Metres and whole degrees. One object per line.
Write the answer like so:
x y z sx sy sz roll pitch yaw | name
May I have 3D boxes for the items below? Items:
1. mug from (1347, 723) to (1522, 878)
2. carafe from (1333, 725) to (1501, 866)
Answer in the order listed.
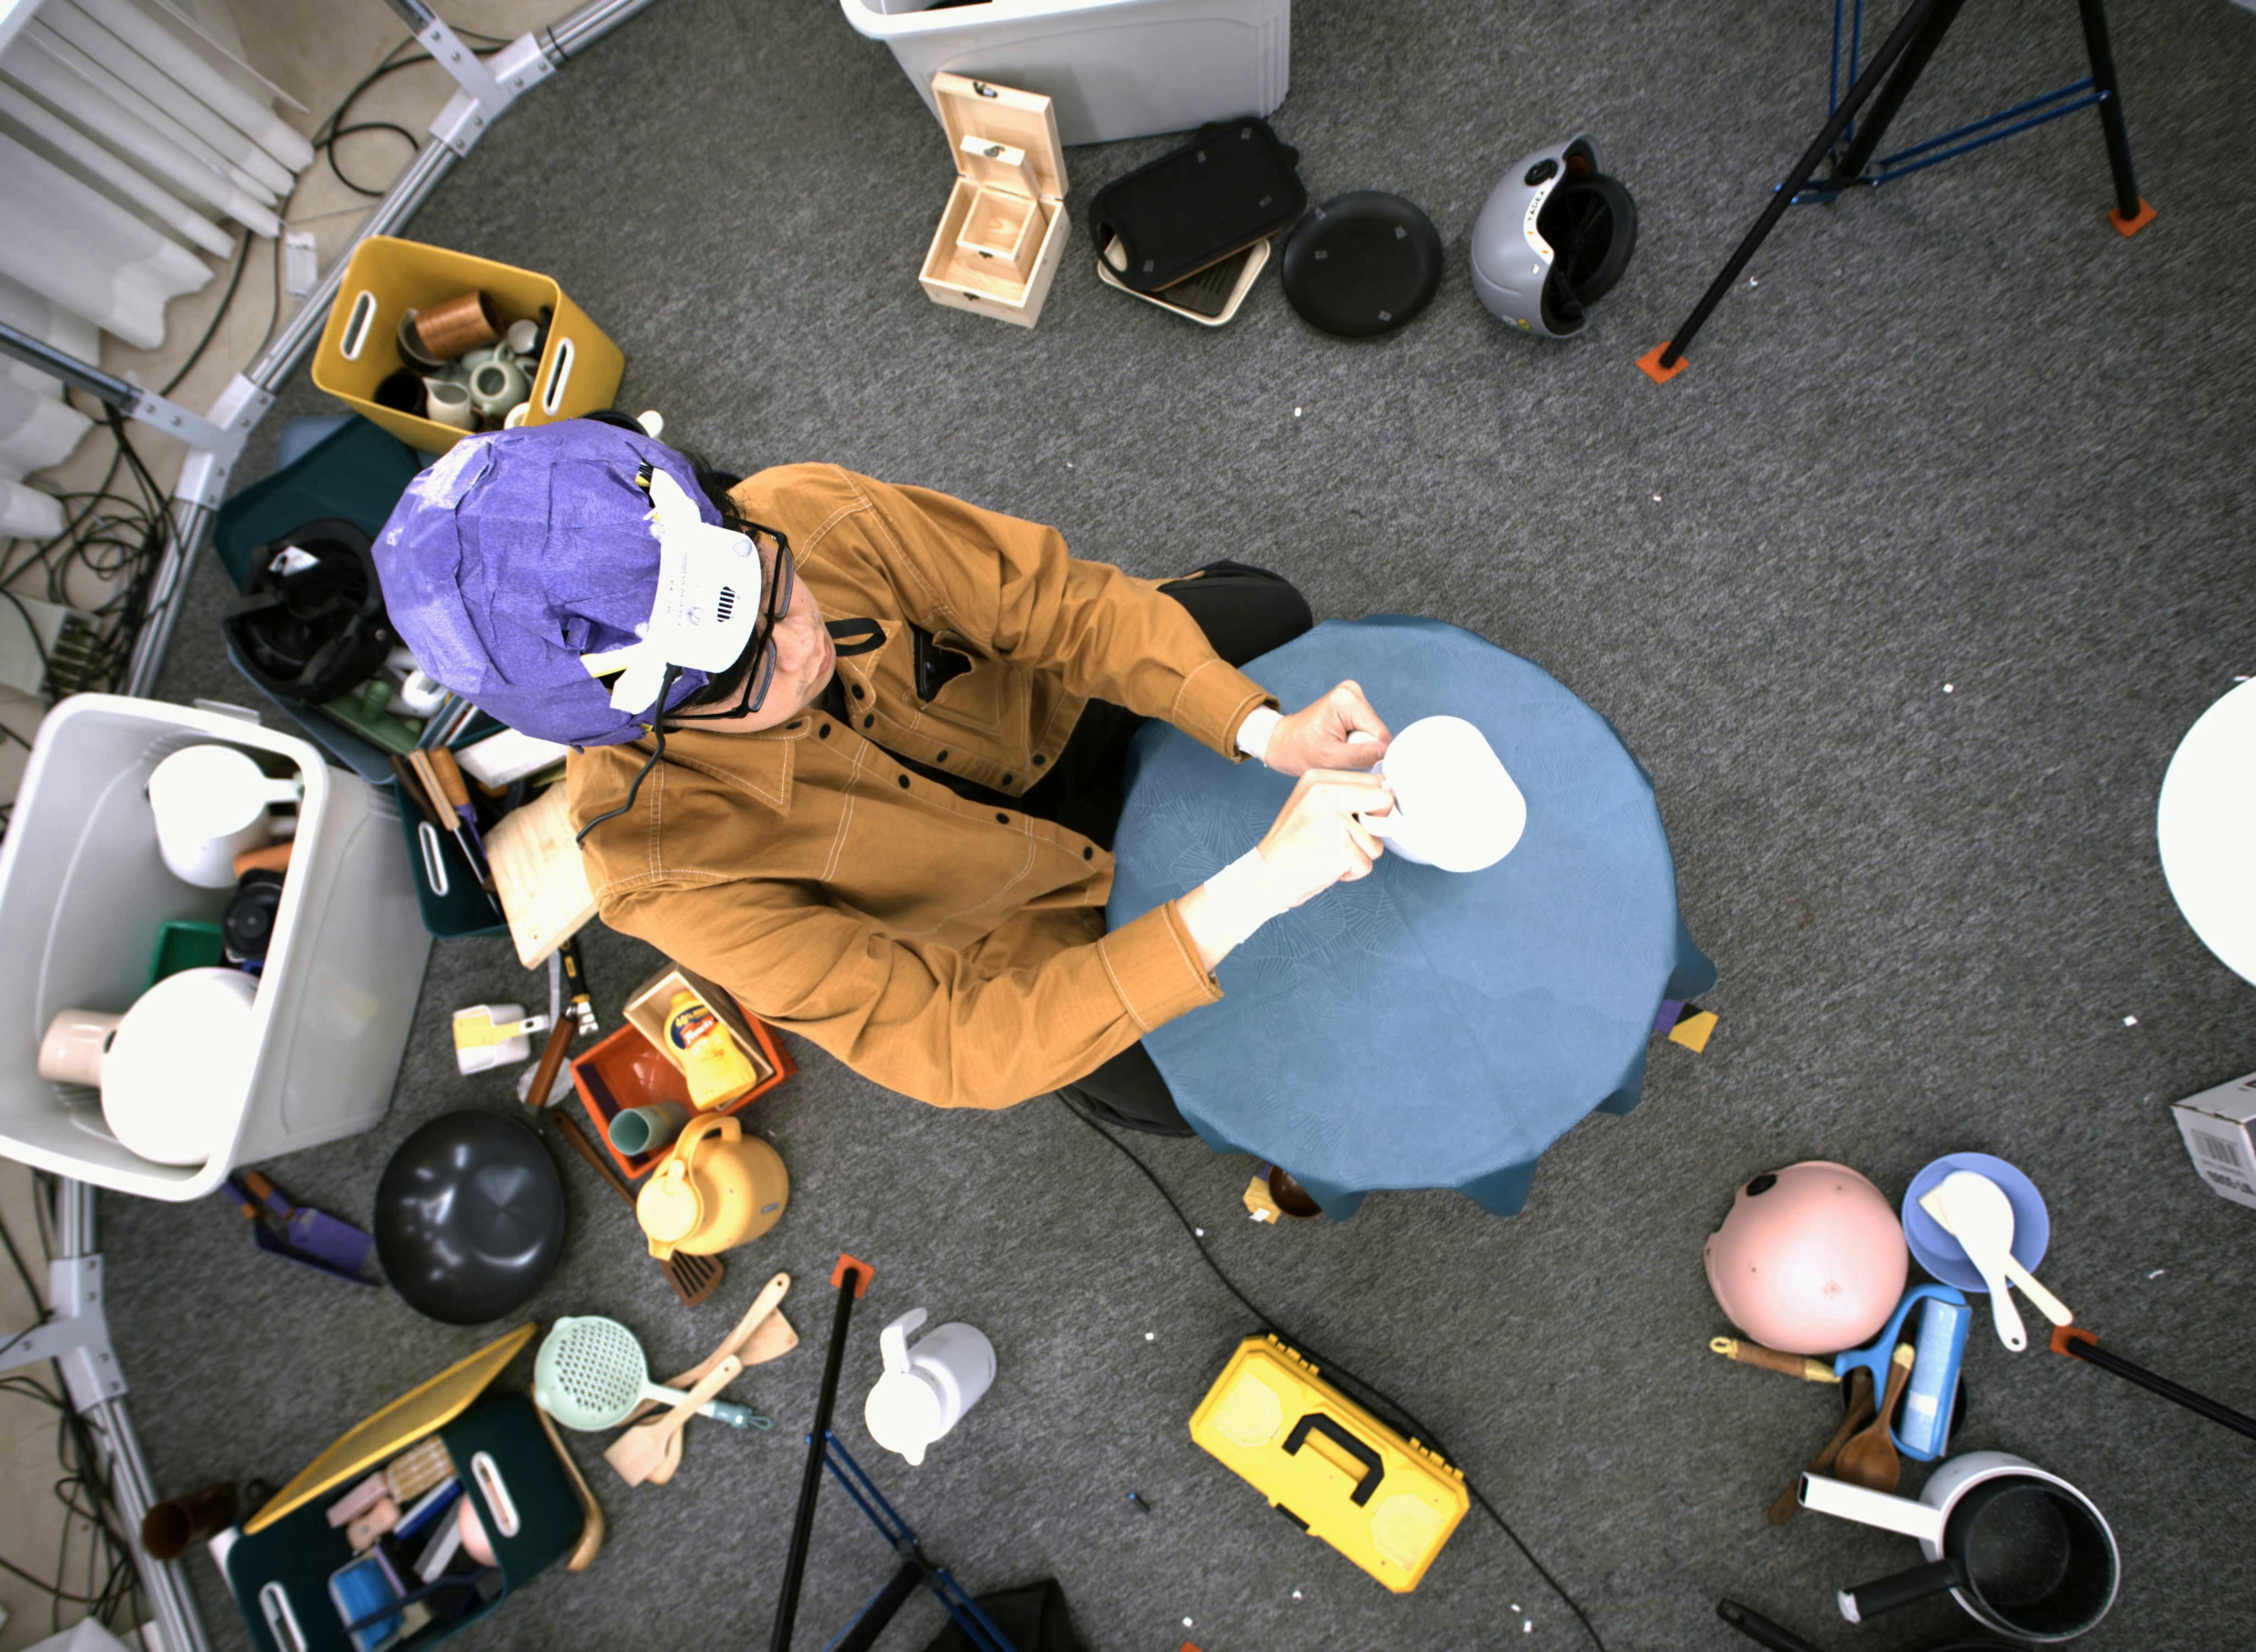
0.228 -0.017 1.041 0.118 0.099 0.086 -14 120 4 | mug
0.263 -0.037 1.263 0.167 0.246 0.134 36 102 6 | carafe
